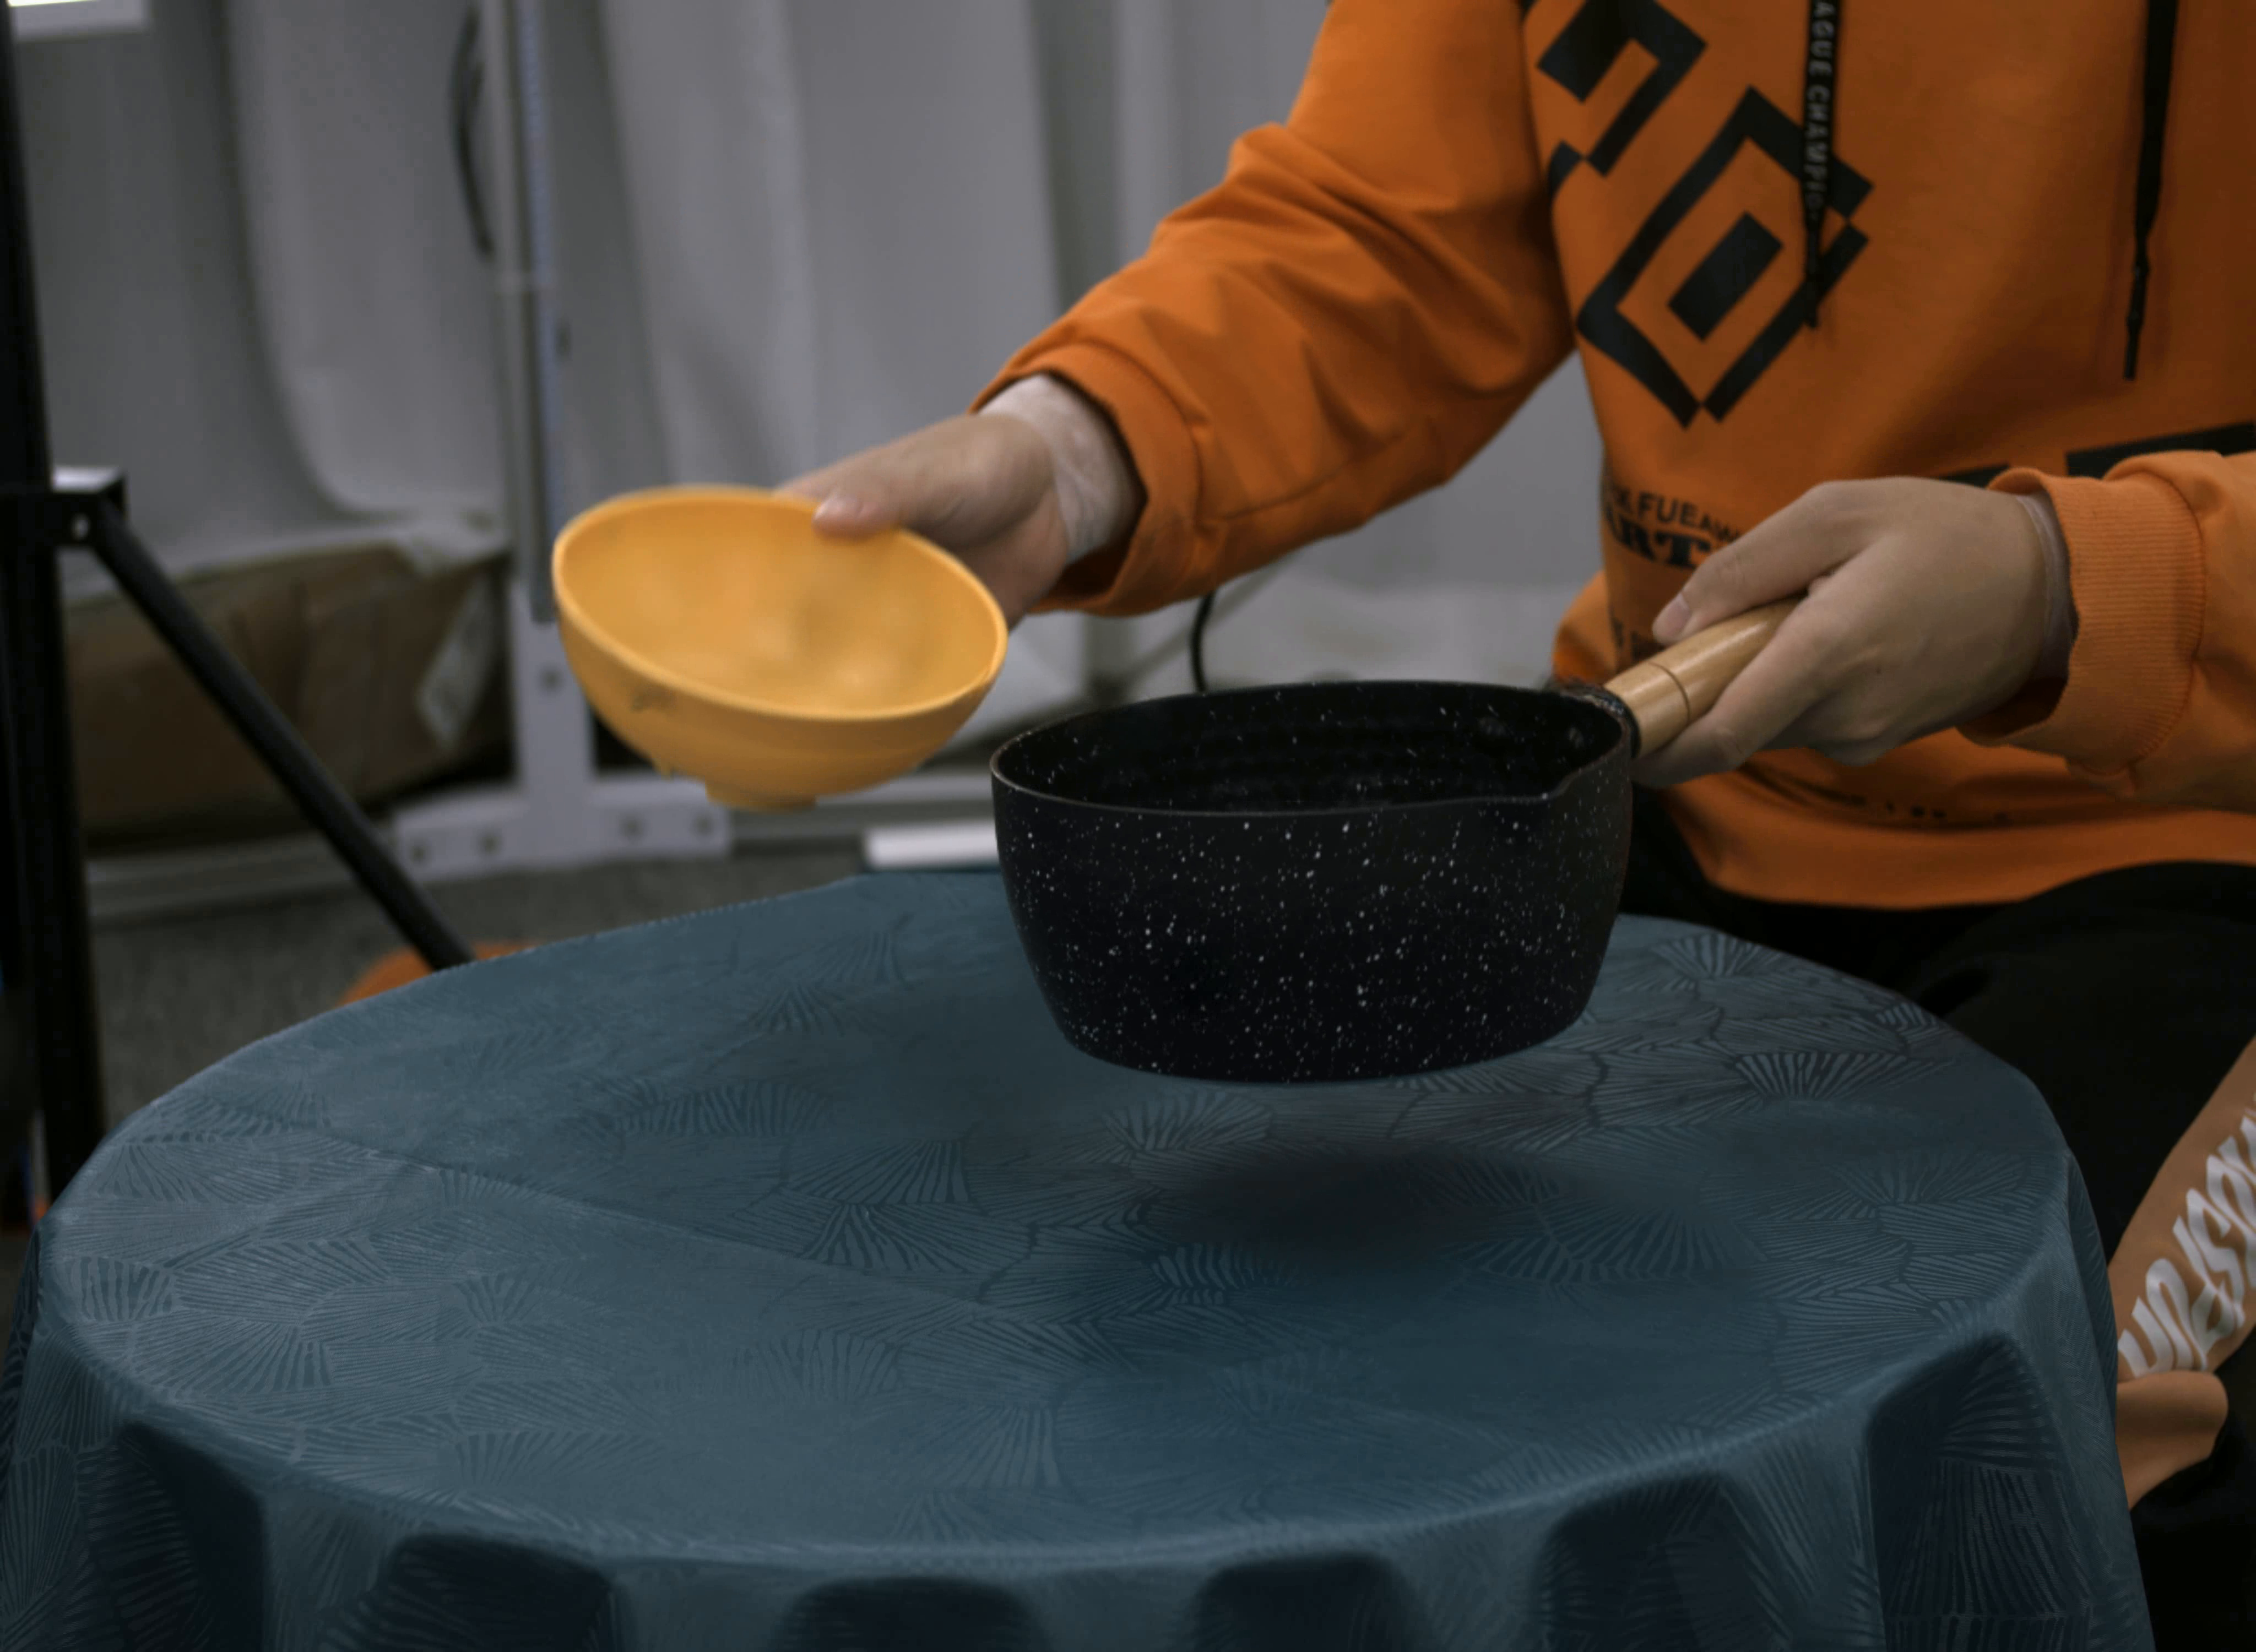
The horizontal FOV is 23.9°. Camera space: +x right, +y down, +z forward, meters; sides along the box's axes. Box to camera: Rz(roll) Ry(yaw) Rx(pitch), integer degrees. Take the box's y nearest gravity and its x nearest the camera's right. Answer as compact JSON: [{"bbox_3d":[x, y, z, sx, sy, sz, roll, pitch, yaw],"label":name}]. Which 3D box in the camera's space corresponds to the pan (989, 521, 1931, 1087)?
[{"bbox_3d":[0.115,-0.009,1.573,0.335,0.108,0.212,-14,15,-37],"label":"pan"}]

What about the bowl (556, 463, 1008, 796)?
[{"bbox_3d":[-0.114,-0.052,1.666,0.144,0.060,0.146,11,29,-8],"label":"bowl"}]
